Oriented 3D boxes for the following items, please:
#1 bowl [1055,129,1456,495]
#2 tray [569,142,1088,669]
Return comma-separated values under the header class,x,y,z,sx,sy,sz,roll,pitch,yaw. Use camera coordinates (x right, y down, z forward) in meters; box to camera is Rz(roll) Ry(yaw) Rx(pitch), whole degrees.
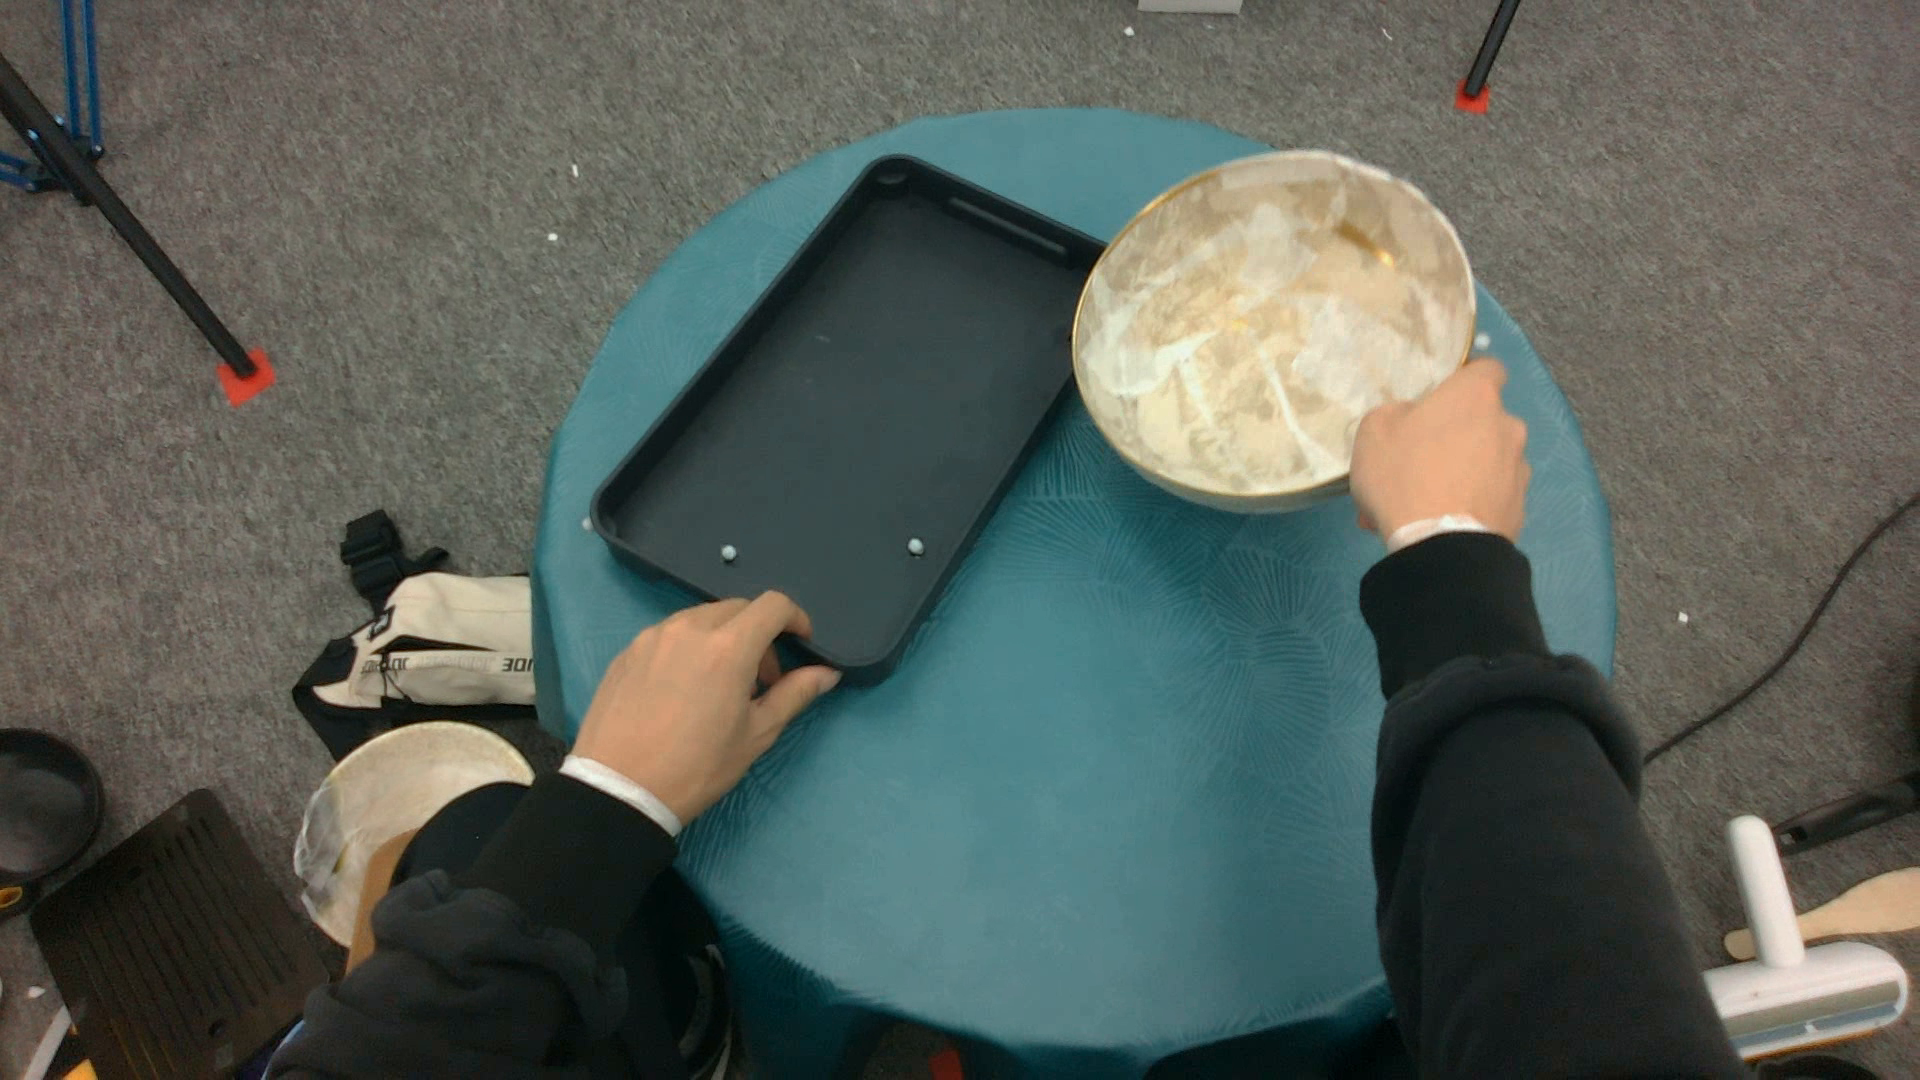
class,x,y,z,sx,sy,sz,roll,pitch,yaw
bowl,0.156,-0.108,0.742,0.214,0.094,0.215,-6,69,16
tray,-0.055,-0.089,0.782,0.184,0.037,0.319,28,62,13
